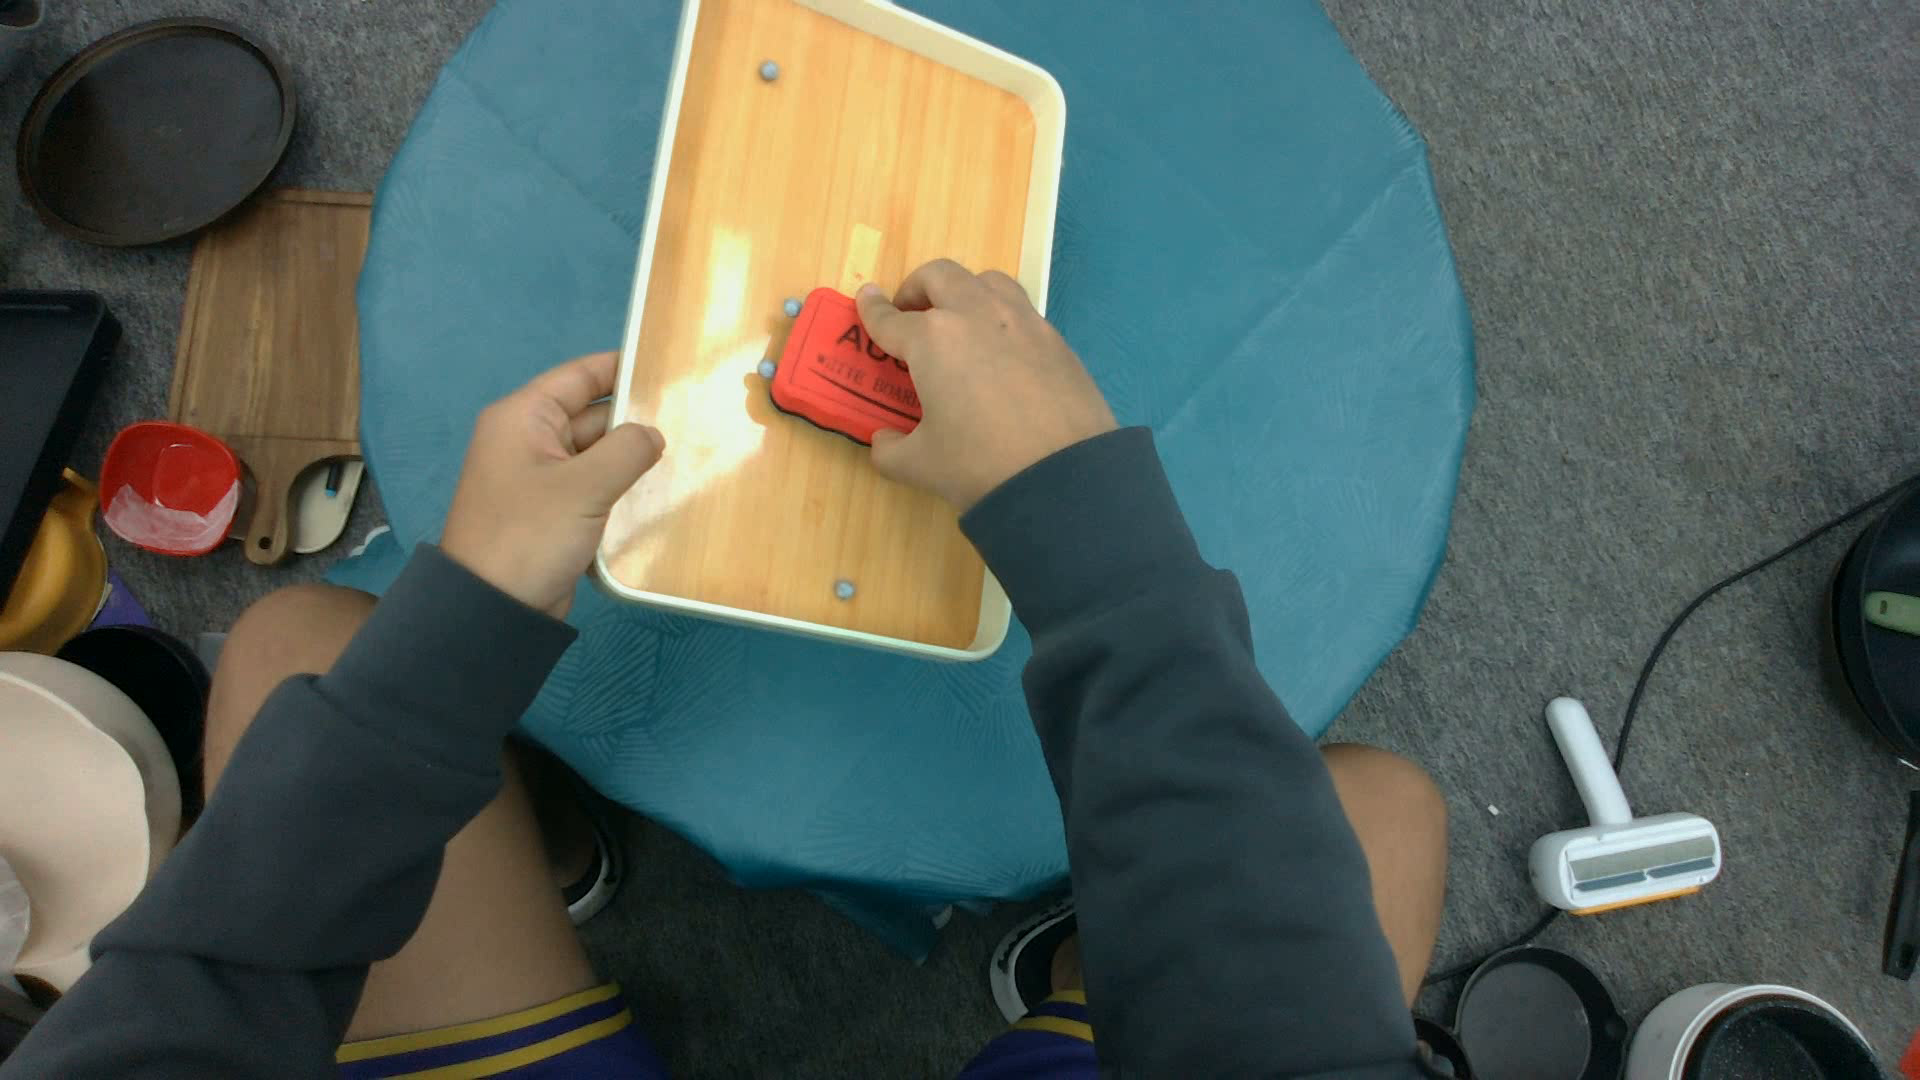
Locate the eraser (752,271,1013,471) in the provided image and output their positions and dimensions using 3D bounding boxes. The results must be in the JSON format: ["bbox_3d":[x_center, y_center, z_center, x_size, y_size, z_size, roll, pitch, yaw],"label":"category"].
[{"bbox_3d":[-0.034,-0.074,0.613,0.108,0.023,0.059,20,78,-13],"label":"eraser"}]

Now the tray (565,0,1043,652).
[{"bbox_3d":[-0.061,-0.109,0.626,0.192,0.027,0.301,13,75,-25],"label":"tray"}]
